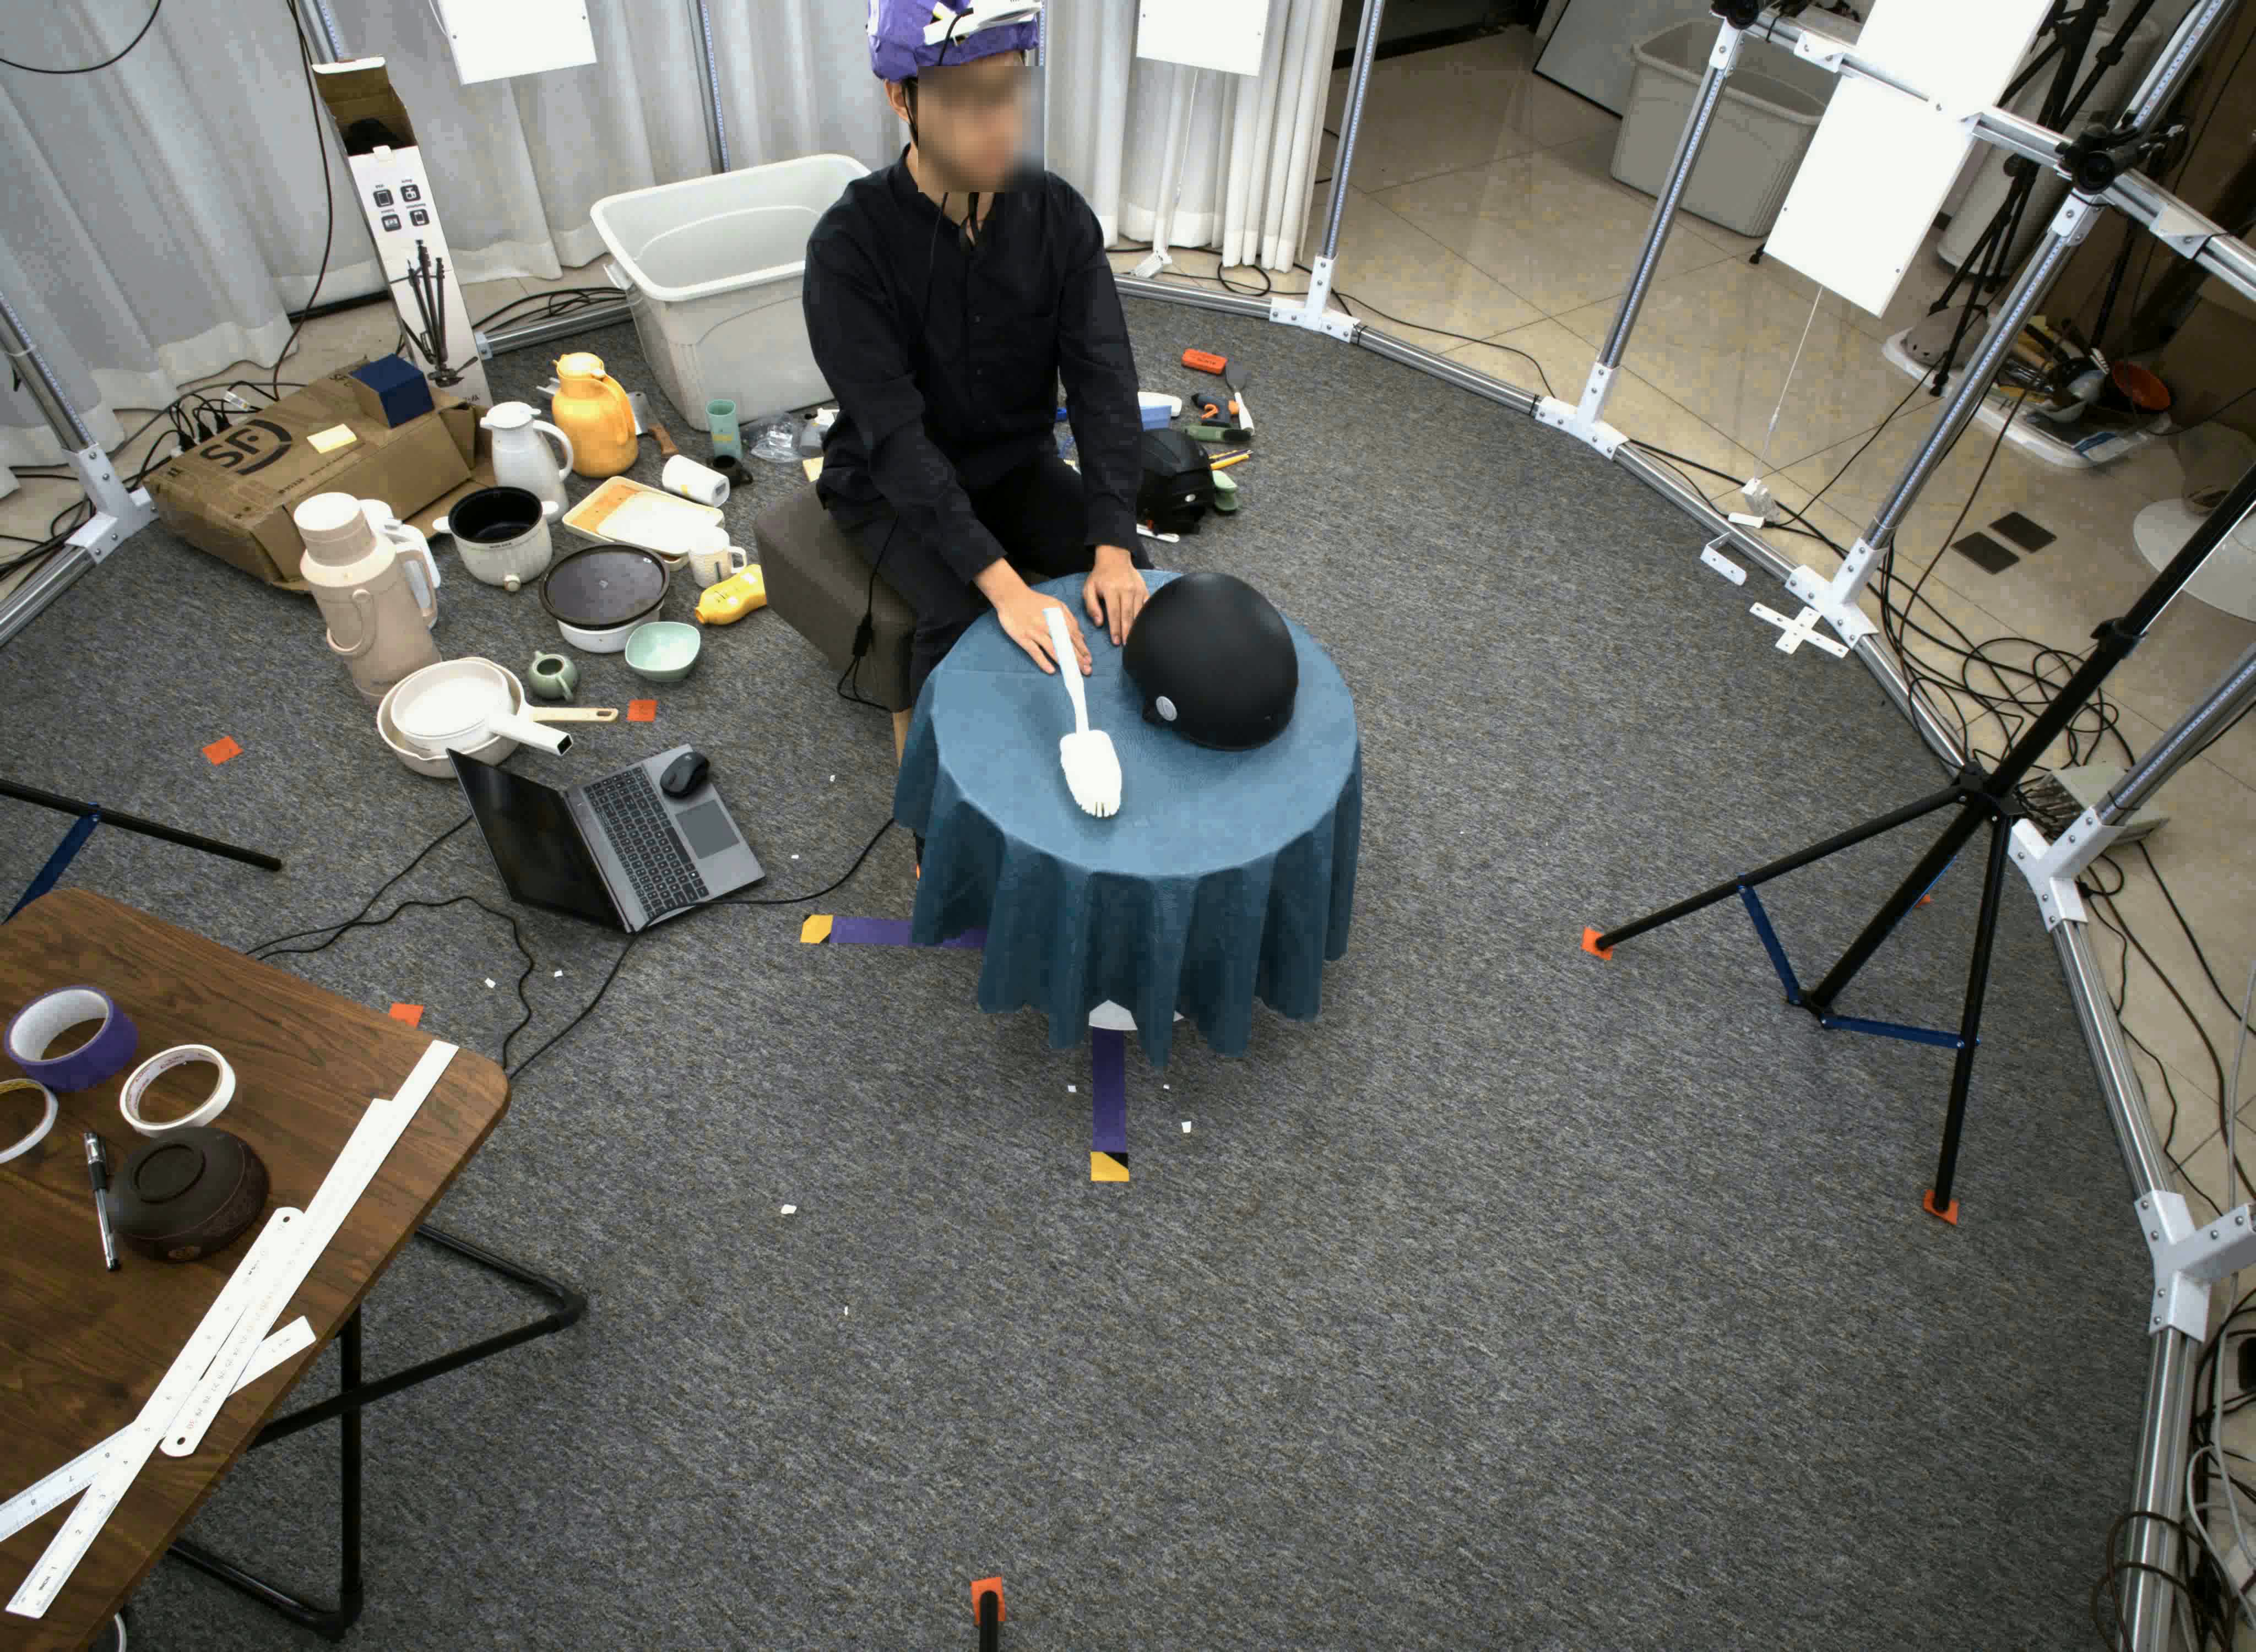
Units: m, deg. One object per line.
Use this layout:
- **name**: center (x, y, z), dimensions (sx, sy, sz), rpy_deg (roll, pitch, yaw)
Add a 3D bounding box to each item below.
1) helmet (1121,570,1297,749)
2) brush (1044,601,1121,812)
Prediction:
- **helmet**: center (0.122, -0.253, 1.794), dimensions (0.231, 0.163, 0.278), rpy_deg (-24, 58, -22)
- **brush**: center (-0.067, -0.160, 1.748), dimensions (0.082, 0.083, 0.332), rpy_deg (13, 51, -44)
